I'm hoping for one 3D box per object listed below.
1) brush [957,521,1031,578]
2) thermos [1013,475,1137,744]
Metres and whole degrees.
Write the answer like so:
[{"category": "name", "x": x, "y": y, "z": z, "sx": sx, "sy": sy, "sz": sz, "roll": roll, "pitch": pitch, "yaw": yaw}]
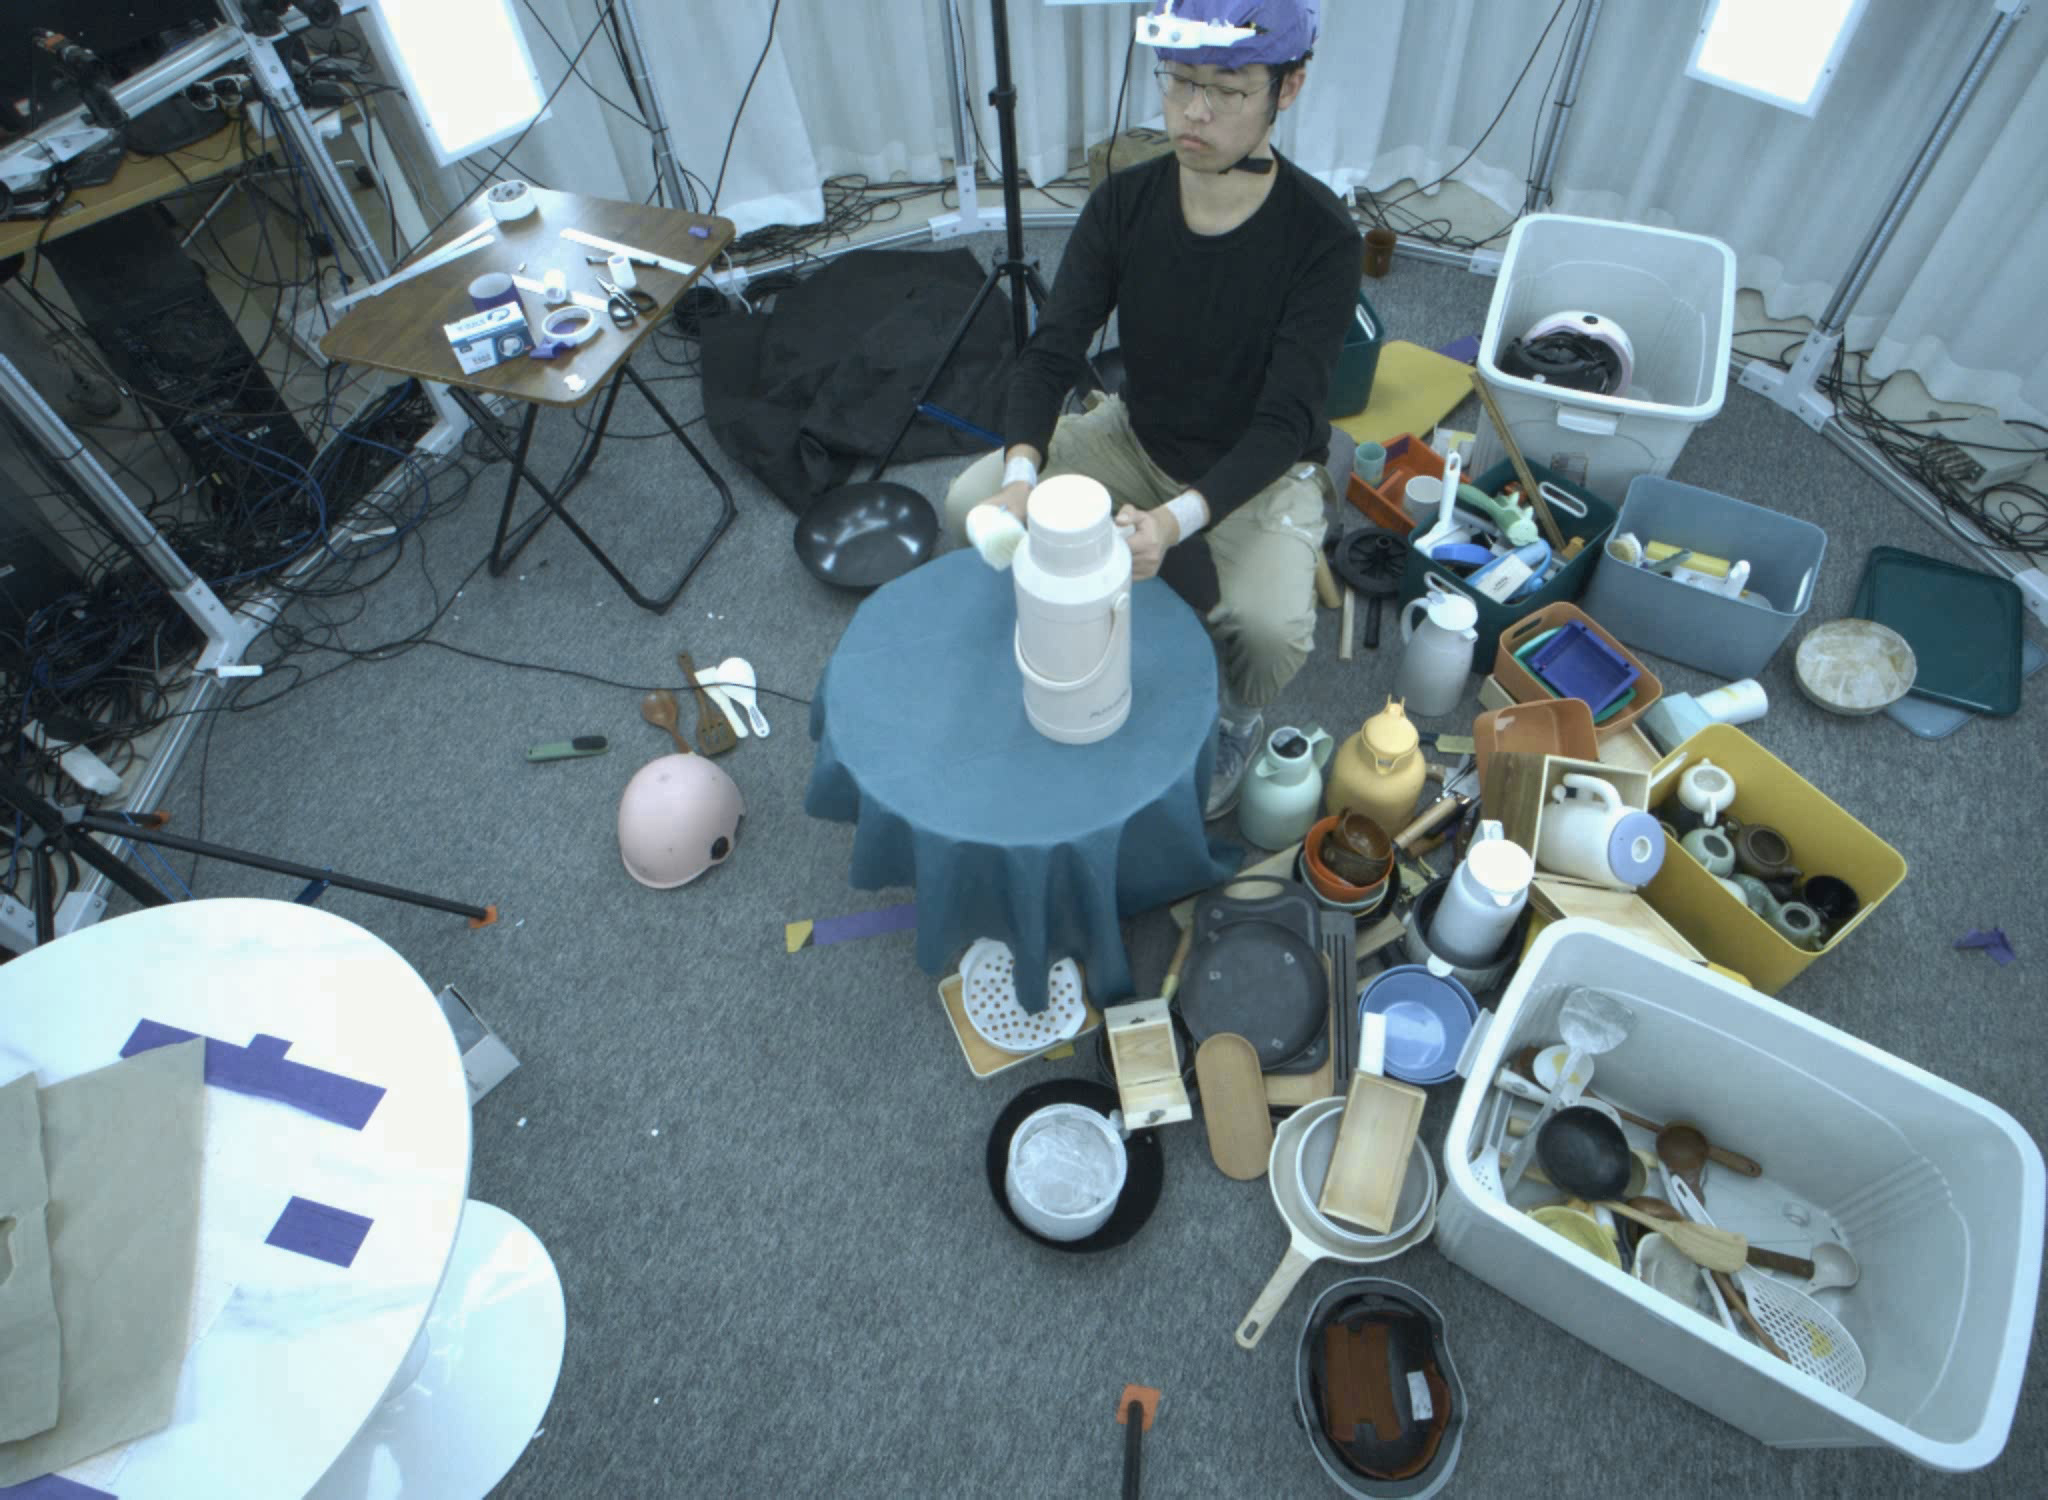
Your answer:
[{"category": "brush", "x": -0.018, "y": -0.293, "z": 1.785, "sx": 0.082, "sy": 0.327, "sz": 0.085, "roll": 2, "pitch": 98, "yaw": 14}, {"category": "thermos", "x": 0.081, "y": -0.195, "z": 1.679, "sx": 0.172, "sy": 0.411, "sz": 0.208, "roll": 33, "pitch": 63, "yaw": 26}]
